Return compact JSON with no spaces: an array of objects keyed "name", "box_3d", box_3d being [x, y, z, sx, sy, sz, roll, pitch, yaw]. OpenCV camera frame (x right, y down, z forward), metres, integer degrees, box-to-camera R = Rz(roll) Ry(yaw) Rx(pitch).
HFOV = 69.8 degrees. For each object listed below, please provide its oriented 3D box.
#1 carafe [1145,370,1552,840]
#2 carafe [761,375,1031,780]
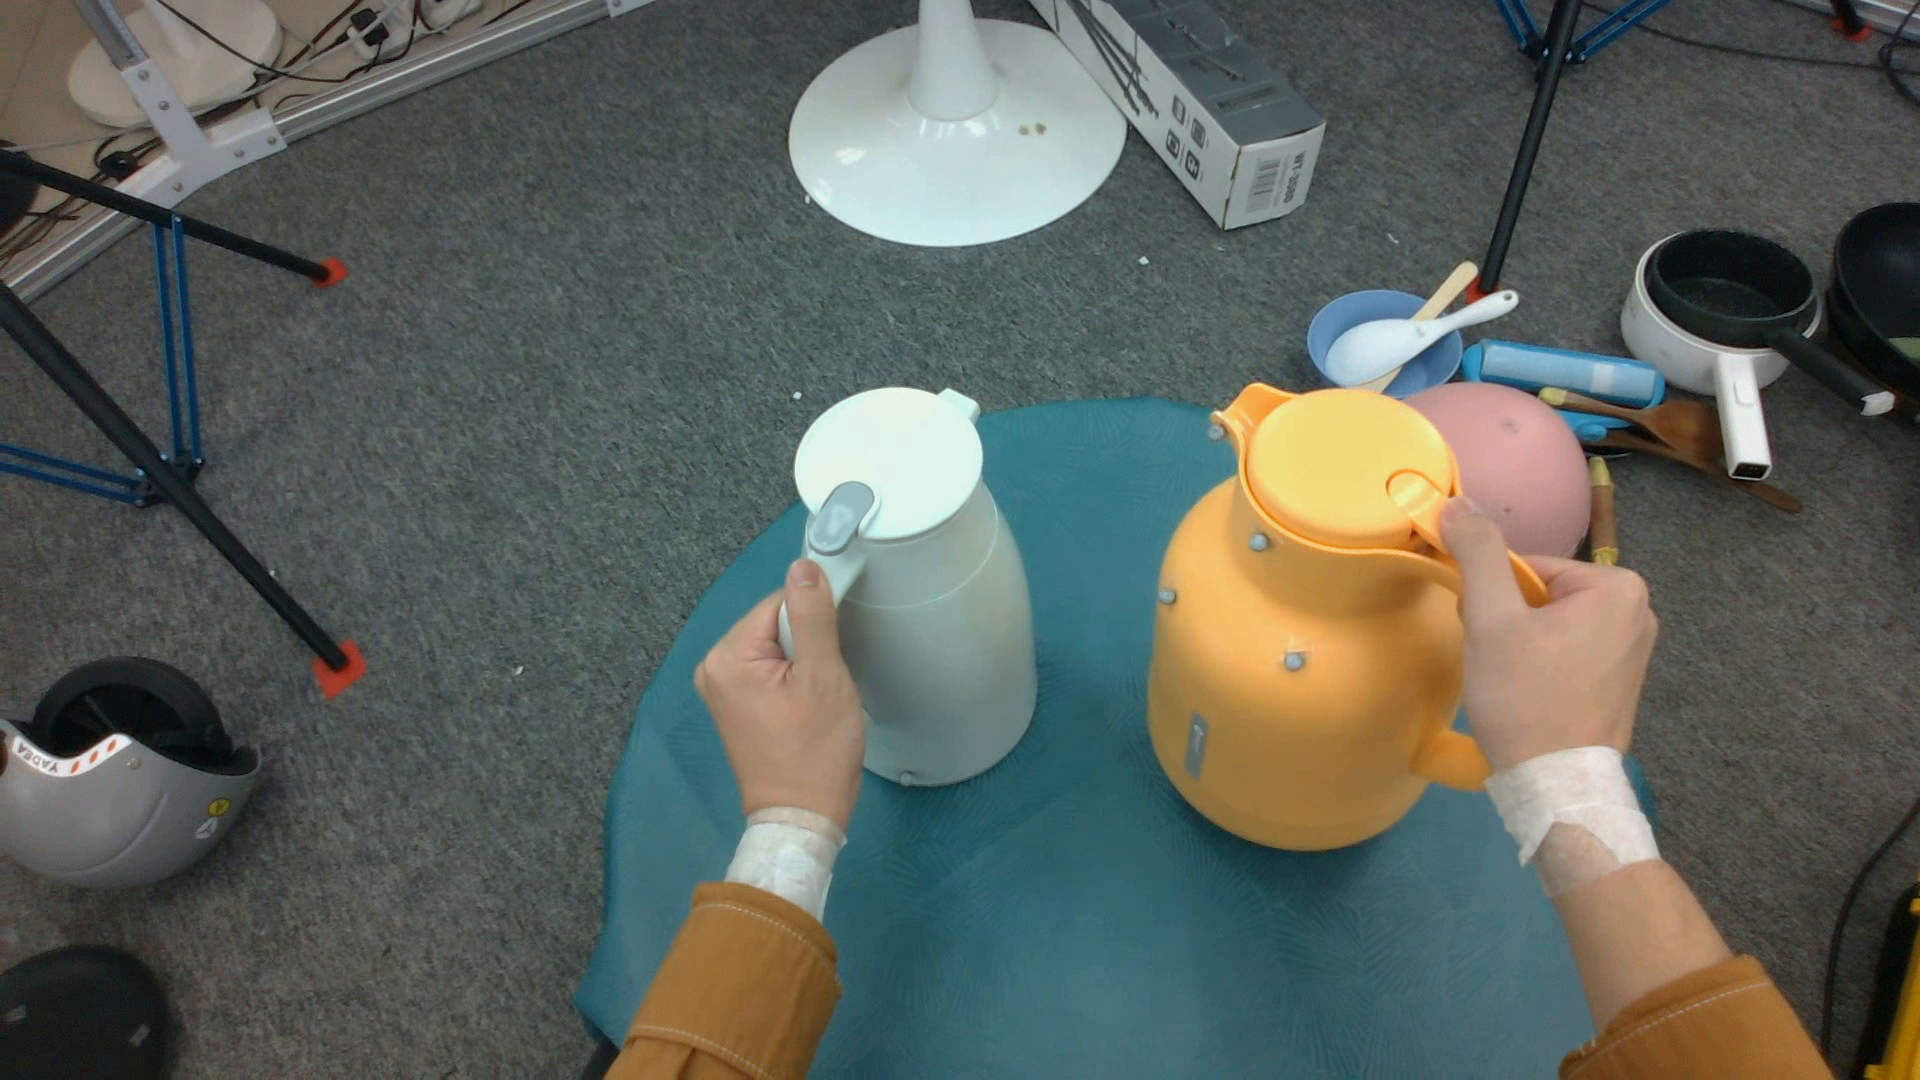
[{"name":"carafe","box_3d":[0.189,0.045,0.699,0.164,0.259,0.202,-35,55,-19]},{"name":"carafe","box_3d":[-0.040,0.035,0.747,0.132,0.247,0.168,27,63,20]}]
